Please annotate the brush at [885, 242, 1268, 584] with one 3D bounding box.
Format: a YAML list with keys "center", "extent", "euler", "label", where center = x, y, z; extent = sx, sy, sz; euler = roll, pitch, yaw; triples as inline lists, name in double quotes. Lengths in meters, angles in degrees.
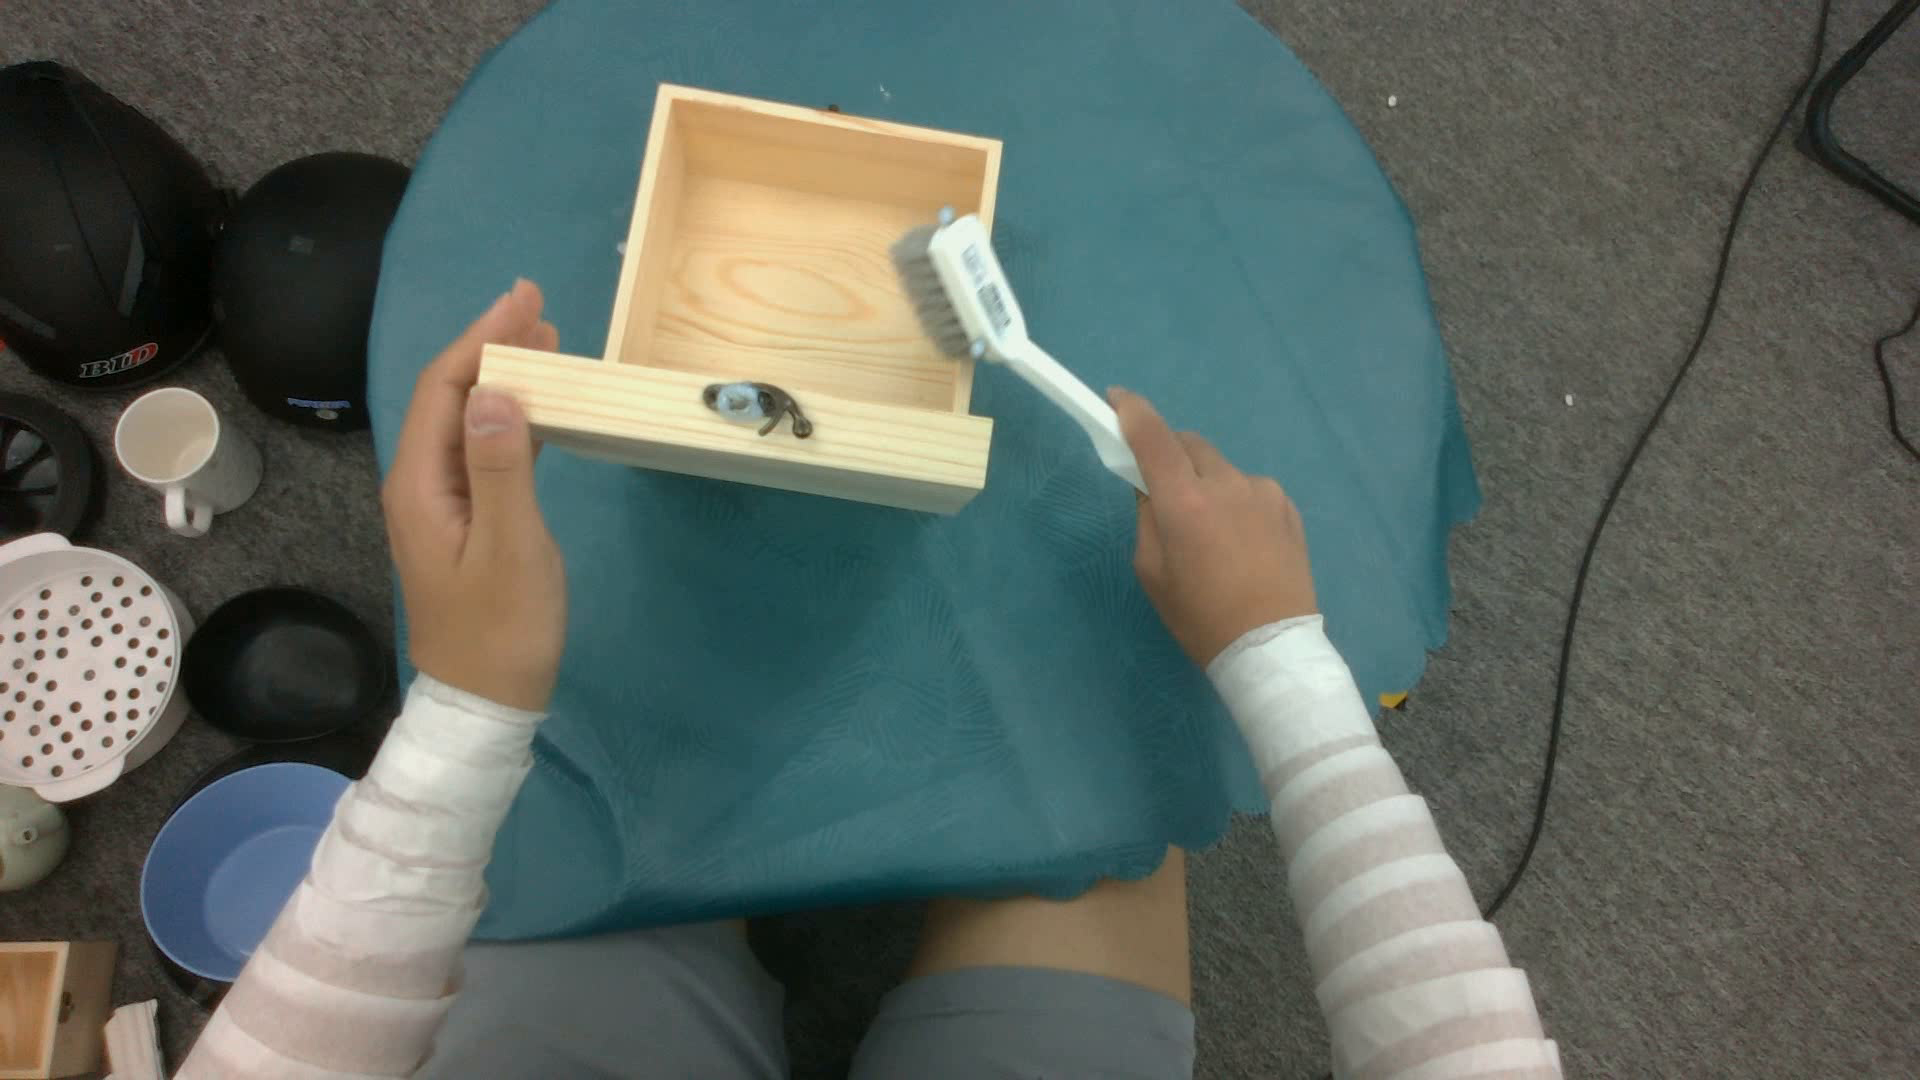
- center: [0.059, -0.055, 0.695]
  extent: [0.243, 0.050, 0.034]
  euler: [43, 45, -12]
  label: "brush"

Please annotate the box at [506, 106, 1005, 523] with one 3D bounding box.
- center: [-0.075, -0.115, 0.655]
  extent: [0.182, 0.252, 0.266]
  euler: [7, 73, -4]
  label: "box"
